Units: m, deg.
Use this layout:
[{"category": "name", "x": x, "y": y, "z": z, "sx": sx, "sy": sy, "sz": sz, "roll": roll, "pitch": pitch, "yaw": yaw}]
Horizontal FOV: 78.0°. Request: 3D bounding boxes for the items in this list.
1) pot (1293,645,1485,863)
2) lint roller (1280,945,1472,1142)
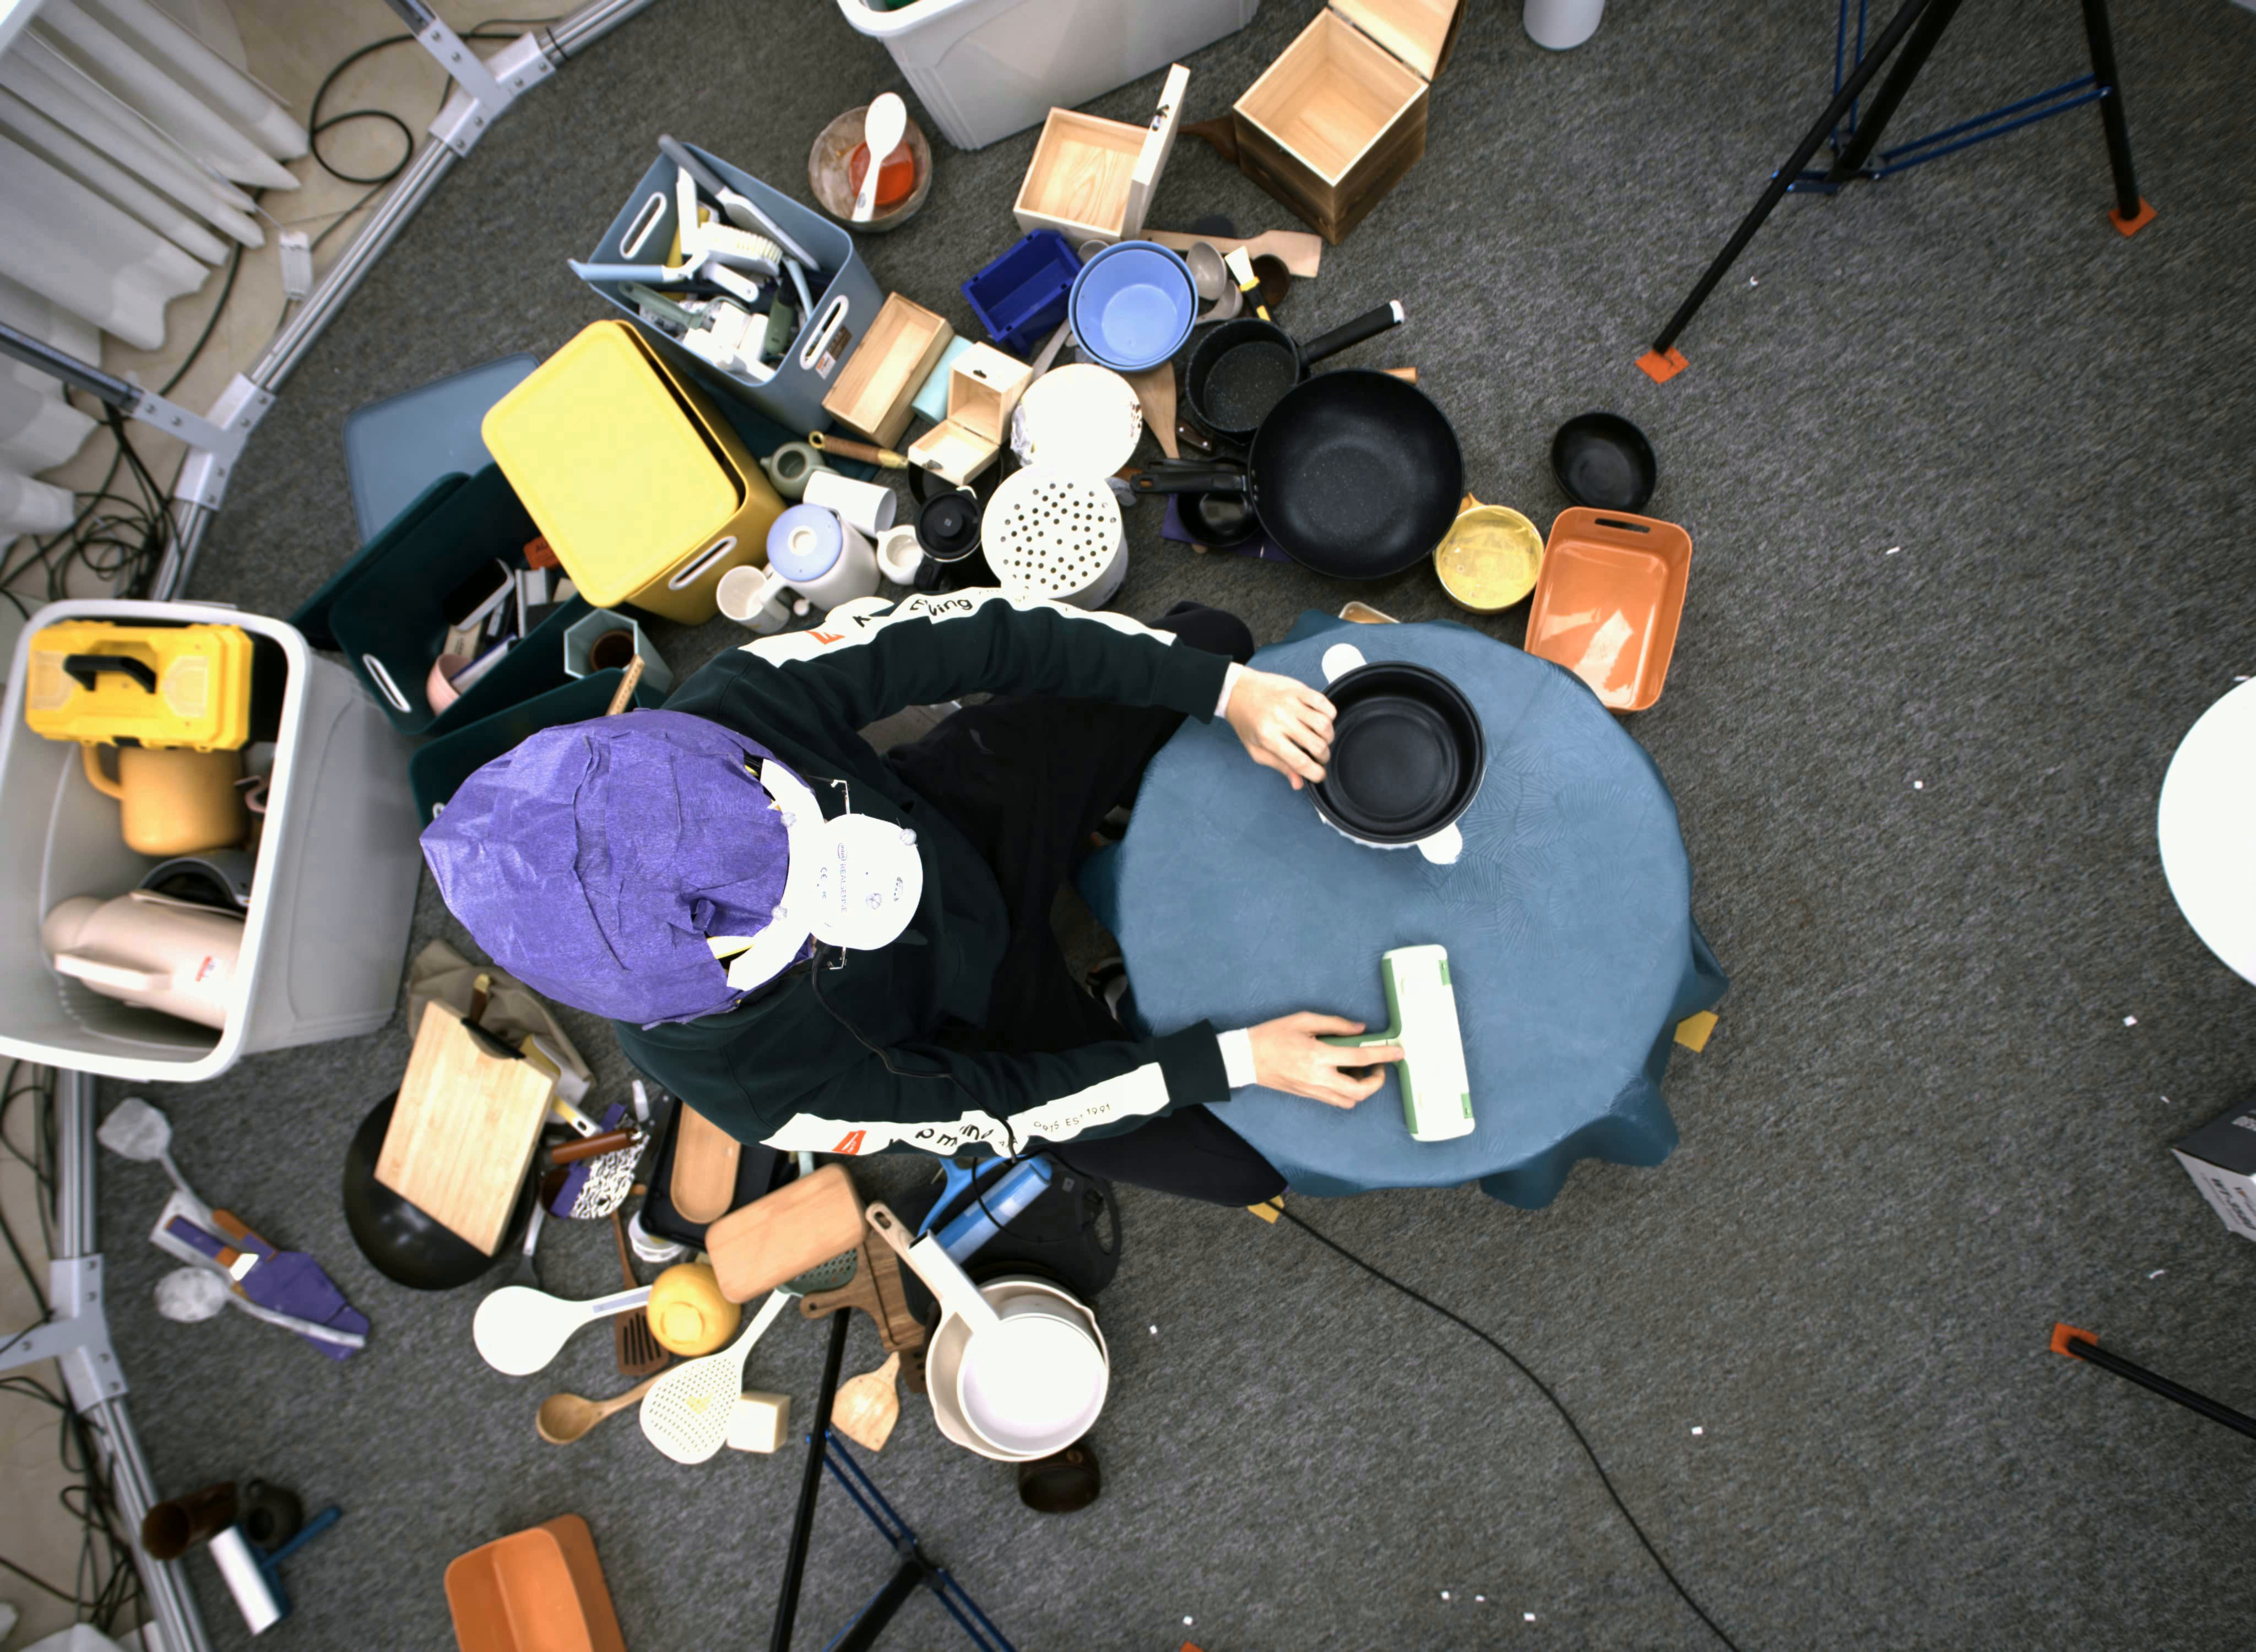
[{"category": "pot", "x": 0.268, "y": -0.071, "z": 1.393, "sx": 0.192, "sy": 0.142, "sz": 0.239, "roll": -29, "pitch": 83, "yaw": 10}, {"category": "lint roller", "x": 0.247, "y": 0.228, "z": 1.413, "sx": 0.184, "sy": 0.082, "sz": 0.197, "roll": -8, "pitch": 86, "yaw": 4}]
